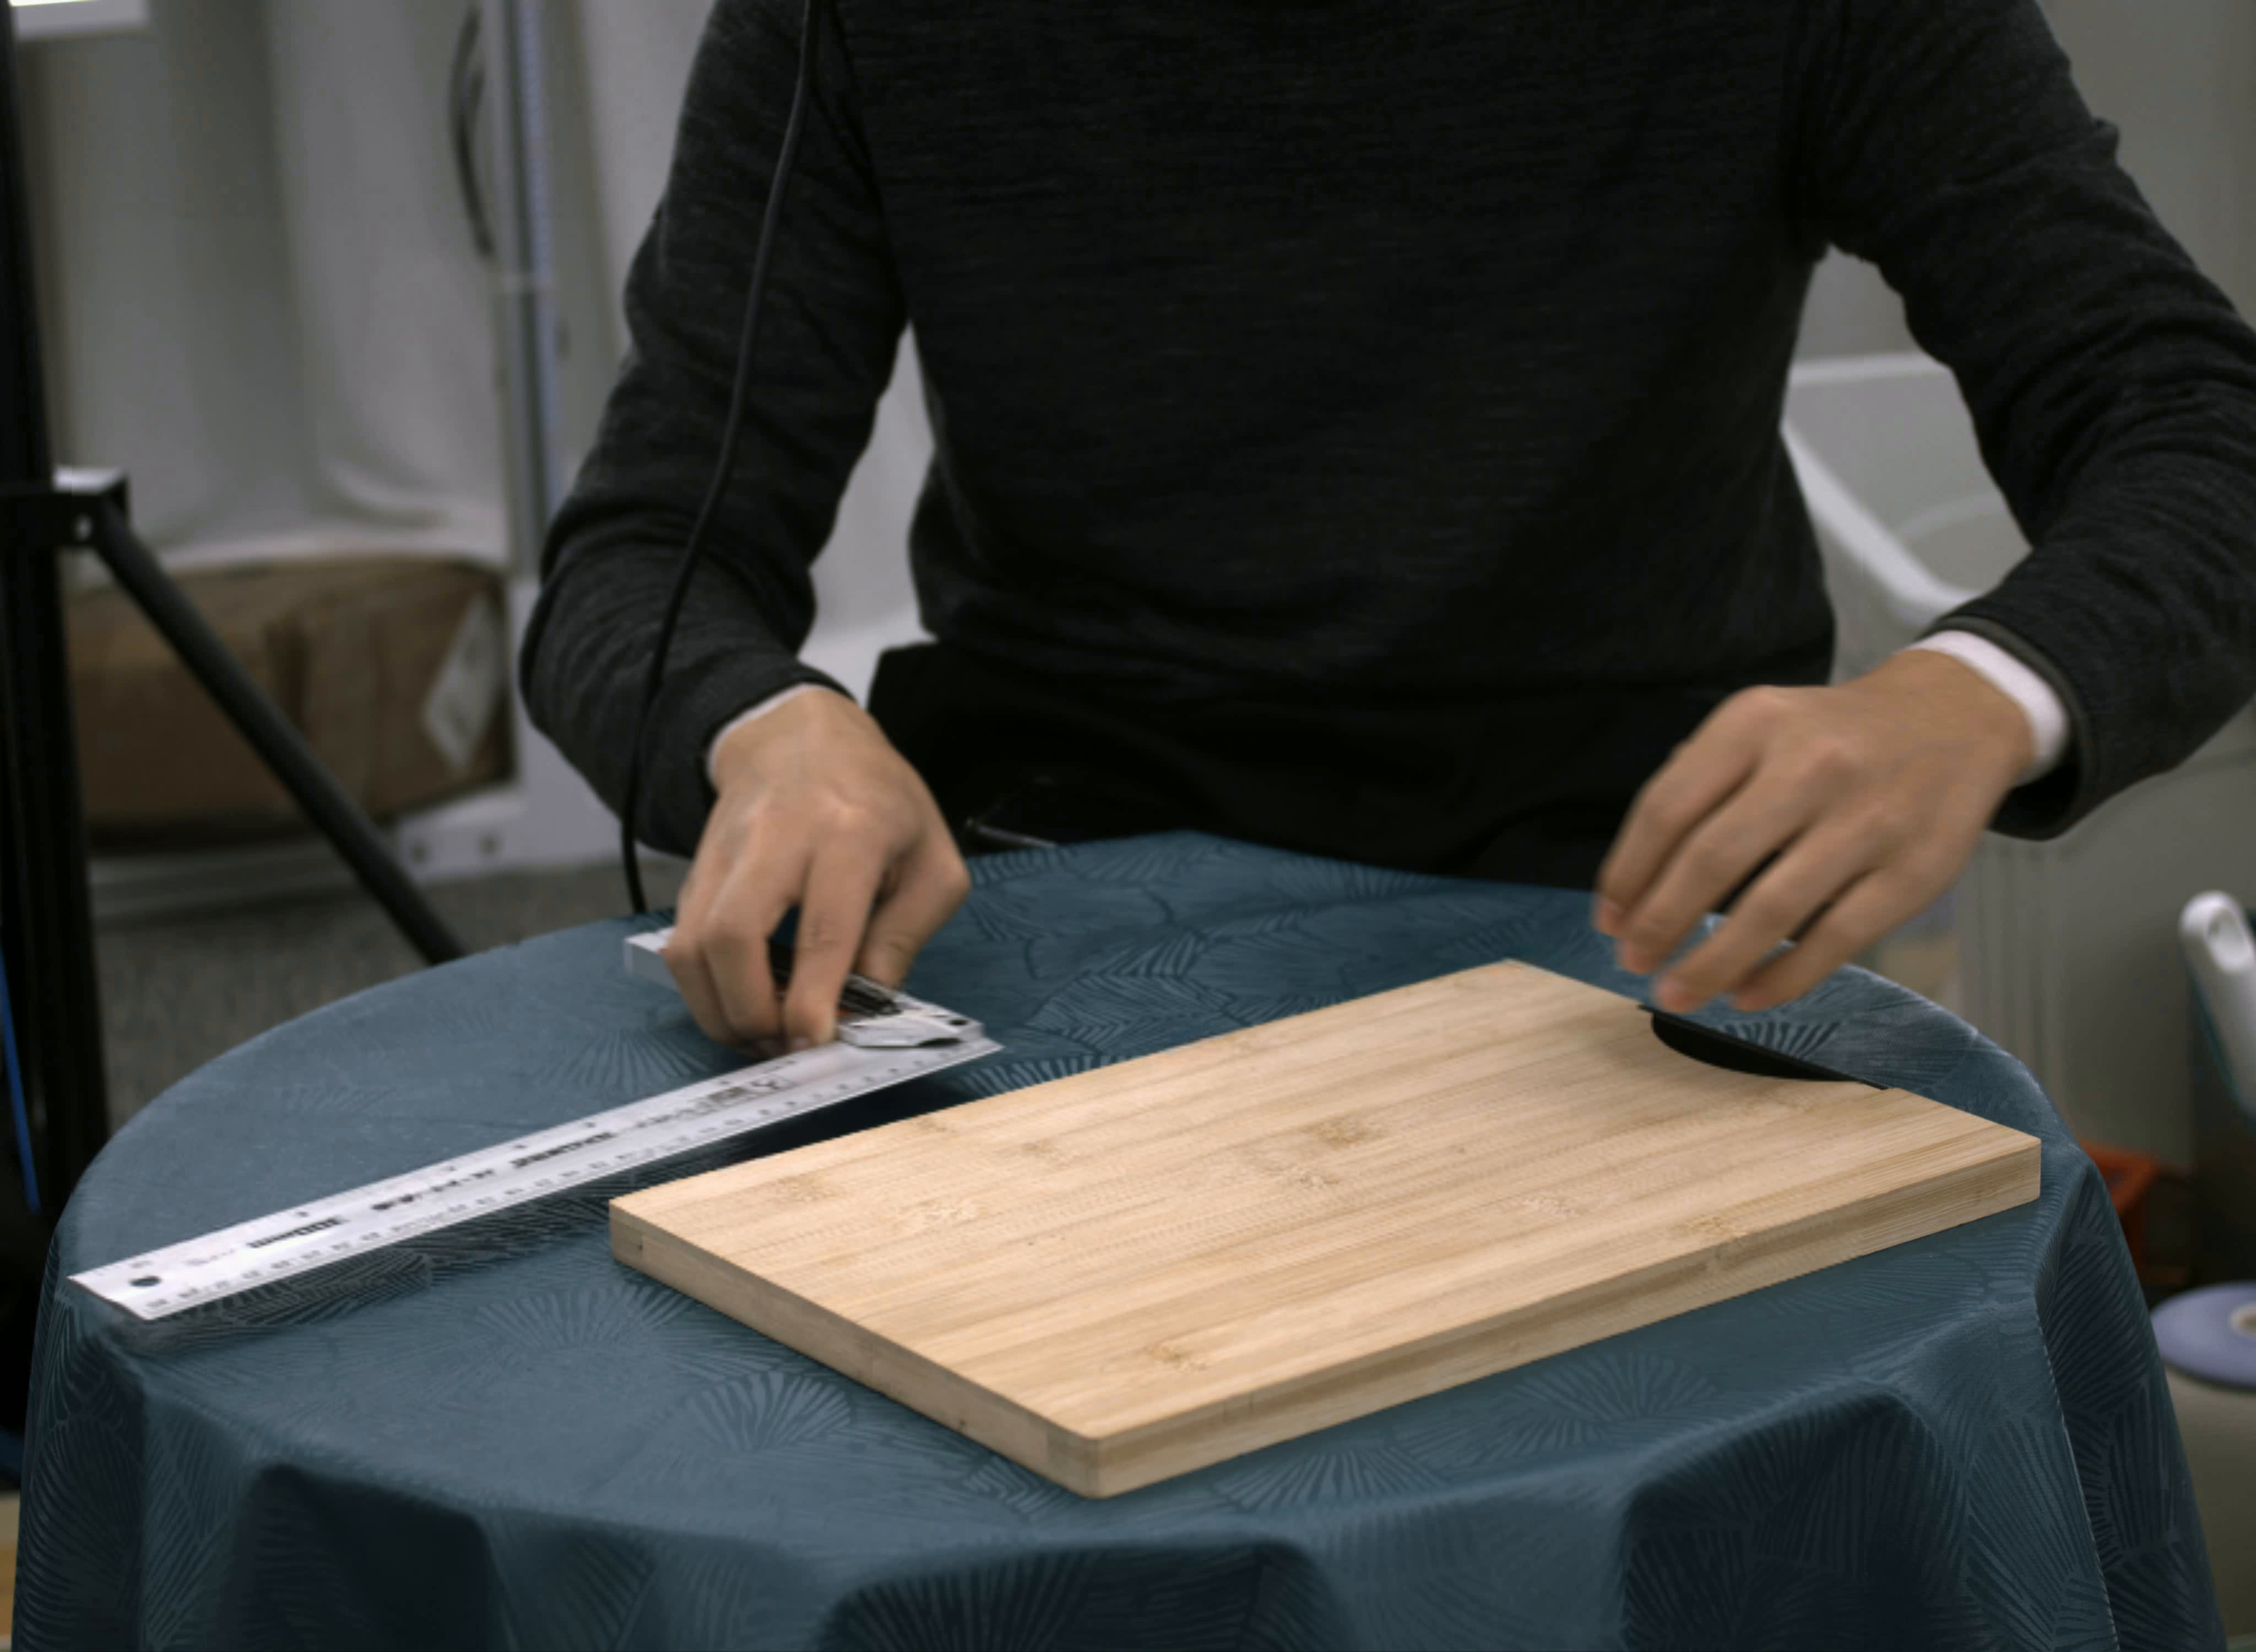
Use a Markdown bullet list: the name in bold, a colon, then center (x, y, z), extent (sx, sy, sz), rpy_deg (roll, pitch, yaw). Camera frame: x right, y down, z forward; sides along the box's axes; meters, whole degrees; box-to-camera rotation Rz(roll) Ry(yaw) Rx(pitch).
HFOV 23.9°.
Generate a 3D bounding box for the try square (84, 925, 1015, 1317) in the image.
- **try square**: center (-0.197, 0.086, 1.605), extent (0.306, 0.016, 0.156), rpy_deg (-16, 22, -37)

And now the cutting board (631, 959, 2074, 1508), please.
- **cutting board**: center (0.062, 0.107, 1.520), extent (0.341, 0.023, 0.256), rpy_deg (-14, 19, -34)
